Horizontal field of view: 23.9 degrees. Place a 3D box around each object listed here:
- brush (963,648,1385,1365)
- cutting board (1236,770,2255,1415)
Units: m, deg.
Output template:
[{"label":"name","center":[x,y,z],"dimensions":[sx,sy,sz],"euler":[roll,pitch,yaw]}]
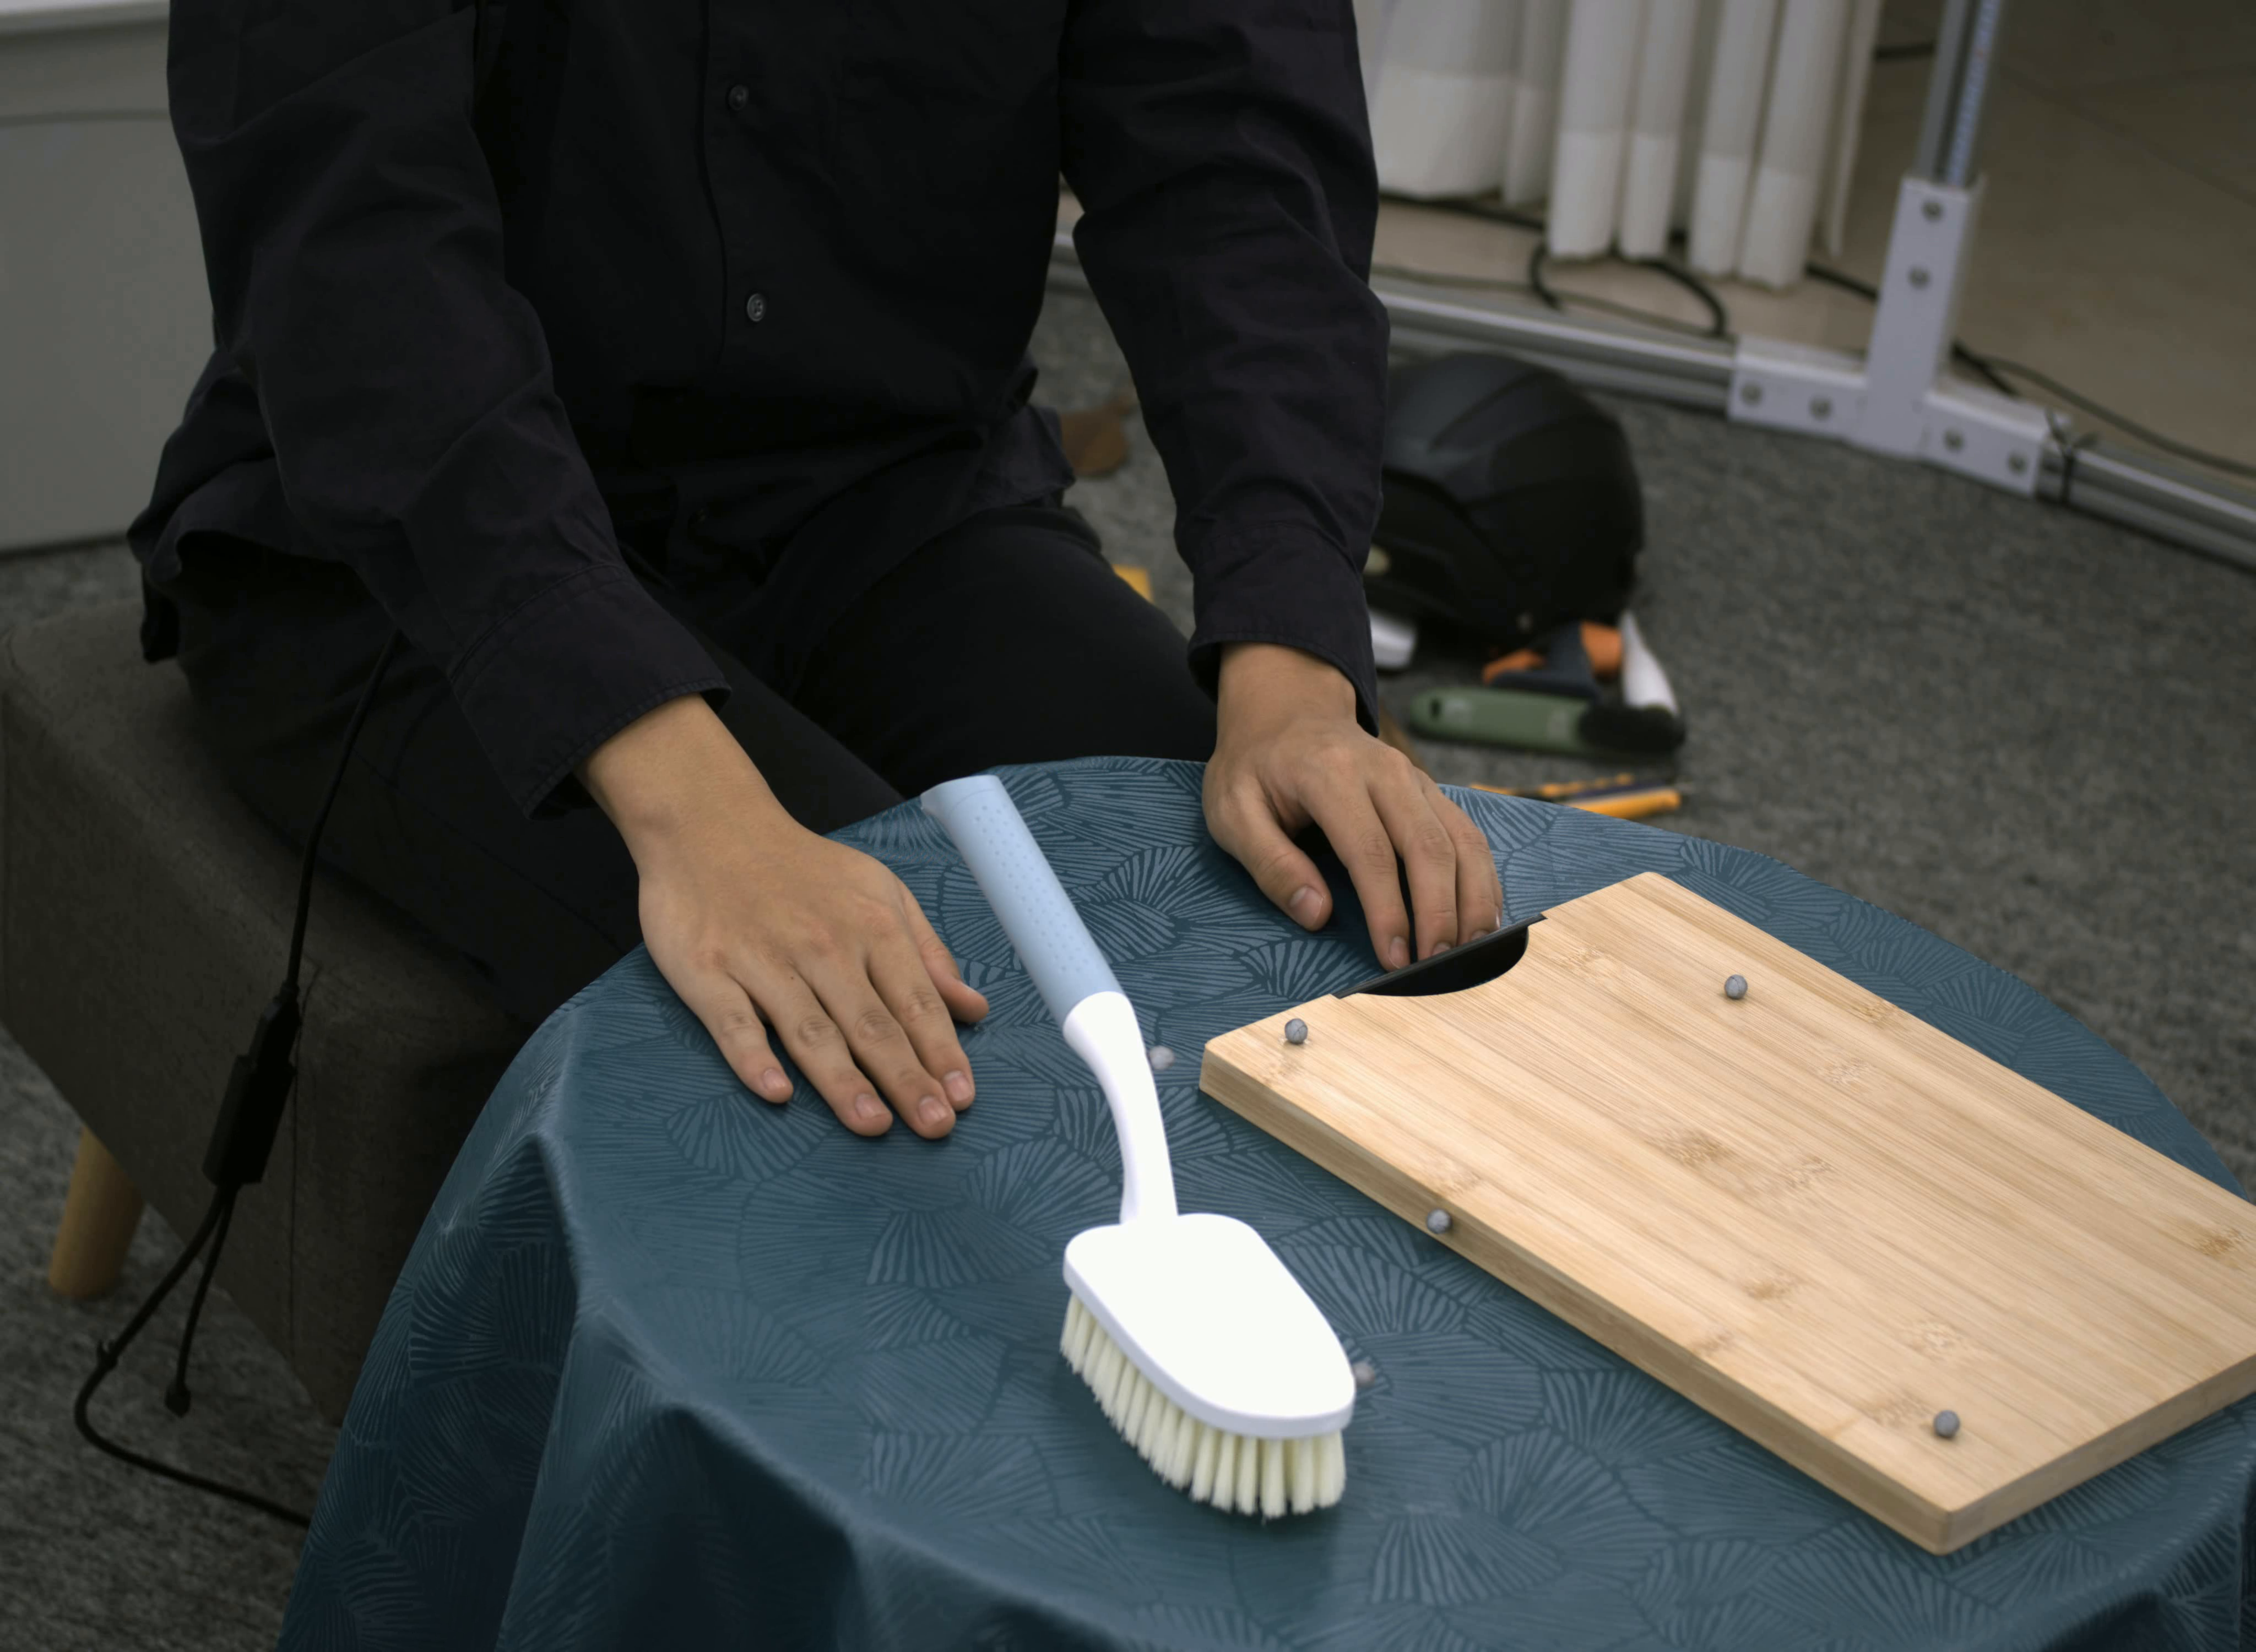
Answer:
[{"label":"brush","center":[0.008,0.067,1.768],"dimensions":[0.082,0.084,0.328],"euler":[32,19,-43]},{"label":"cutting board","center":[0.241,0.085,1.857],"dimensions":[0.249,0.023,0.351],"euler":[-19,37,-41]}]
